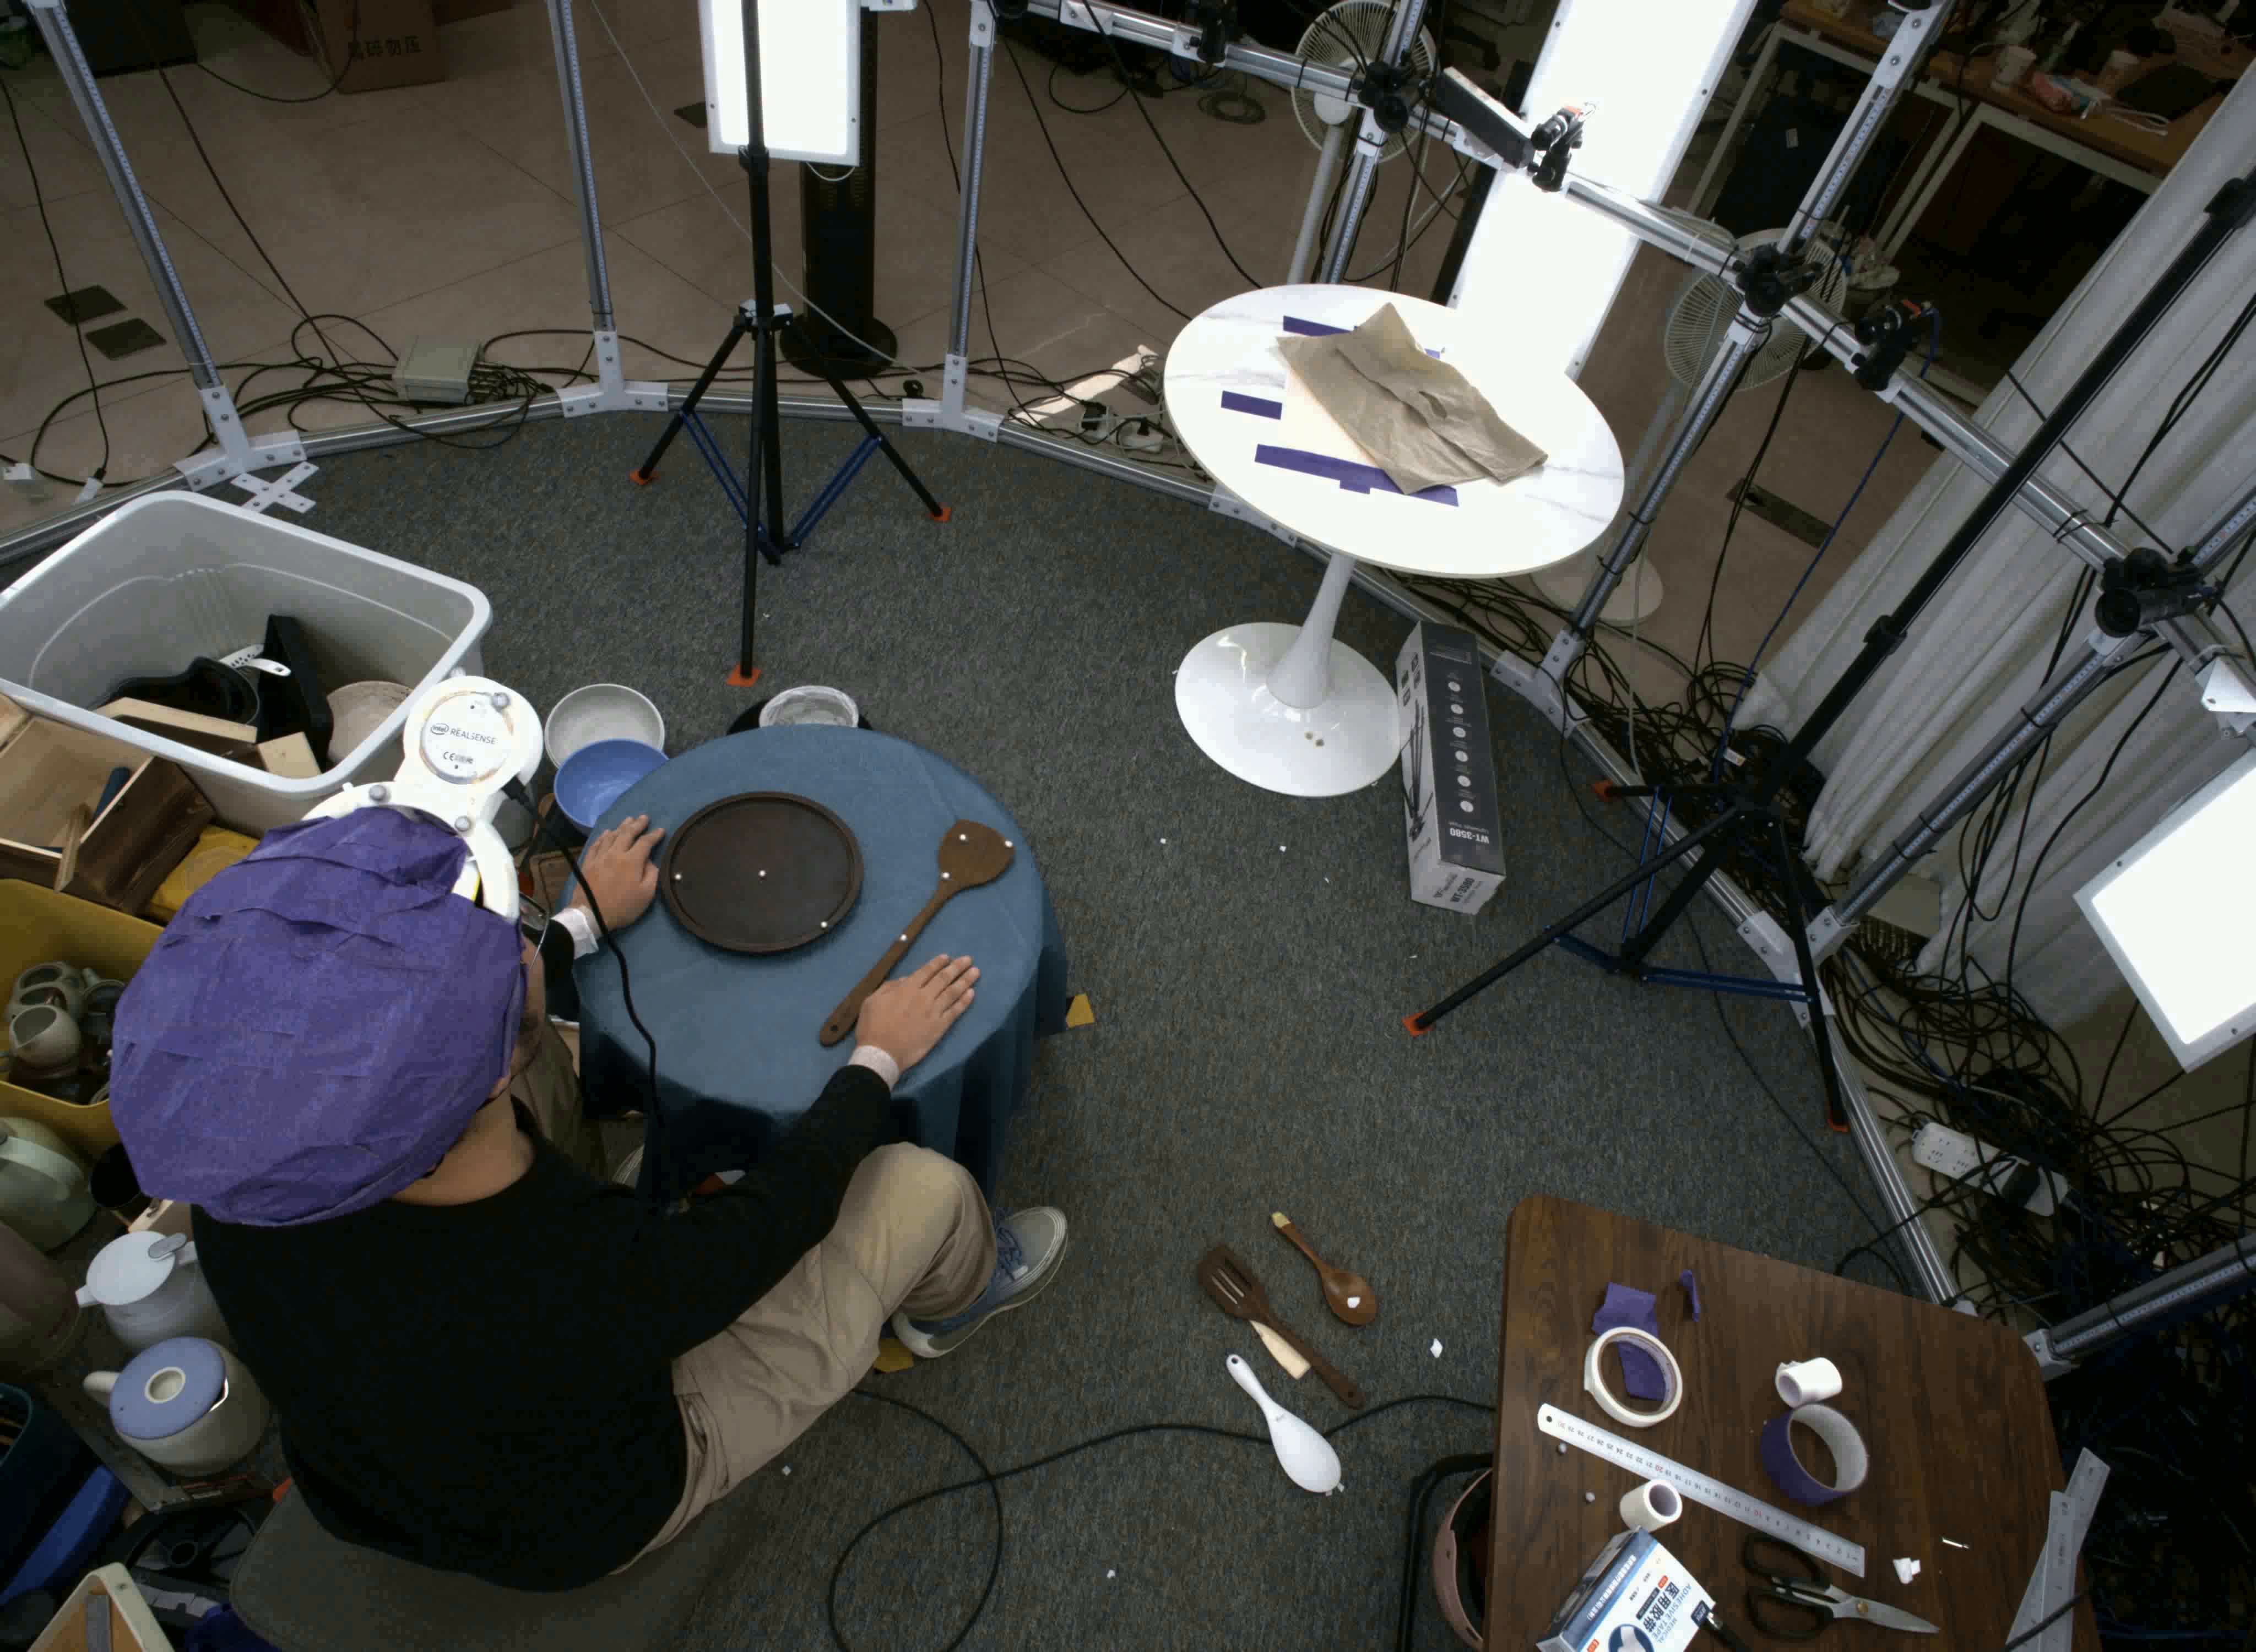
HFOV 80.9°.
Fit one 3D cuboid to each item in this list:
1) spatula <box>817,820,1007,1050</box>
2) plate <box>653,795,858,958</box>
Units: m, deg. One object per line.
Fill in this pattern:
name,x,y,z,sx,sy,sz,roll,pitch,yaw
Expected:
spatula,-0.279,0.131,1.650,0.094,0.016,0.384,28,52,7
plate,-0.473,0.060,1.647,0.254,0.029,0.250,9,52,-10
